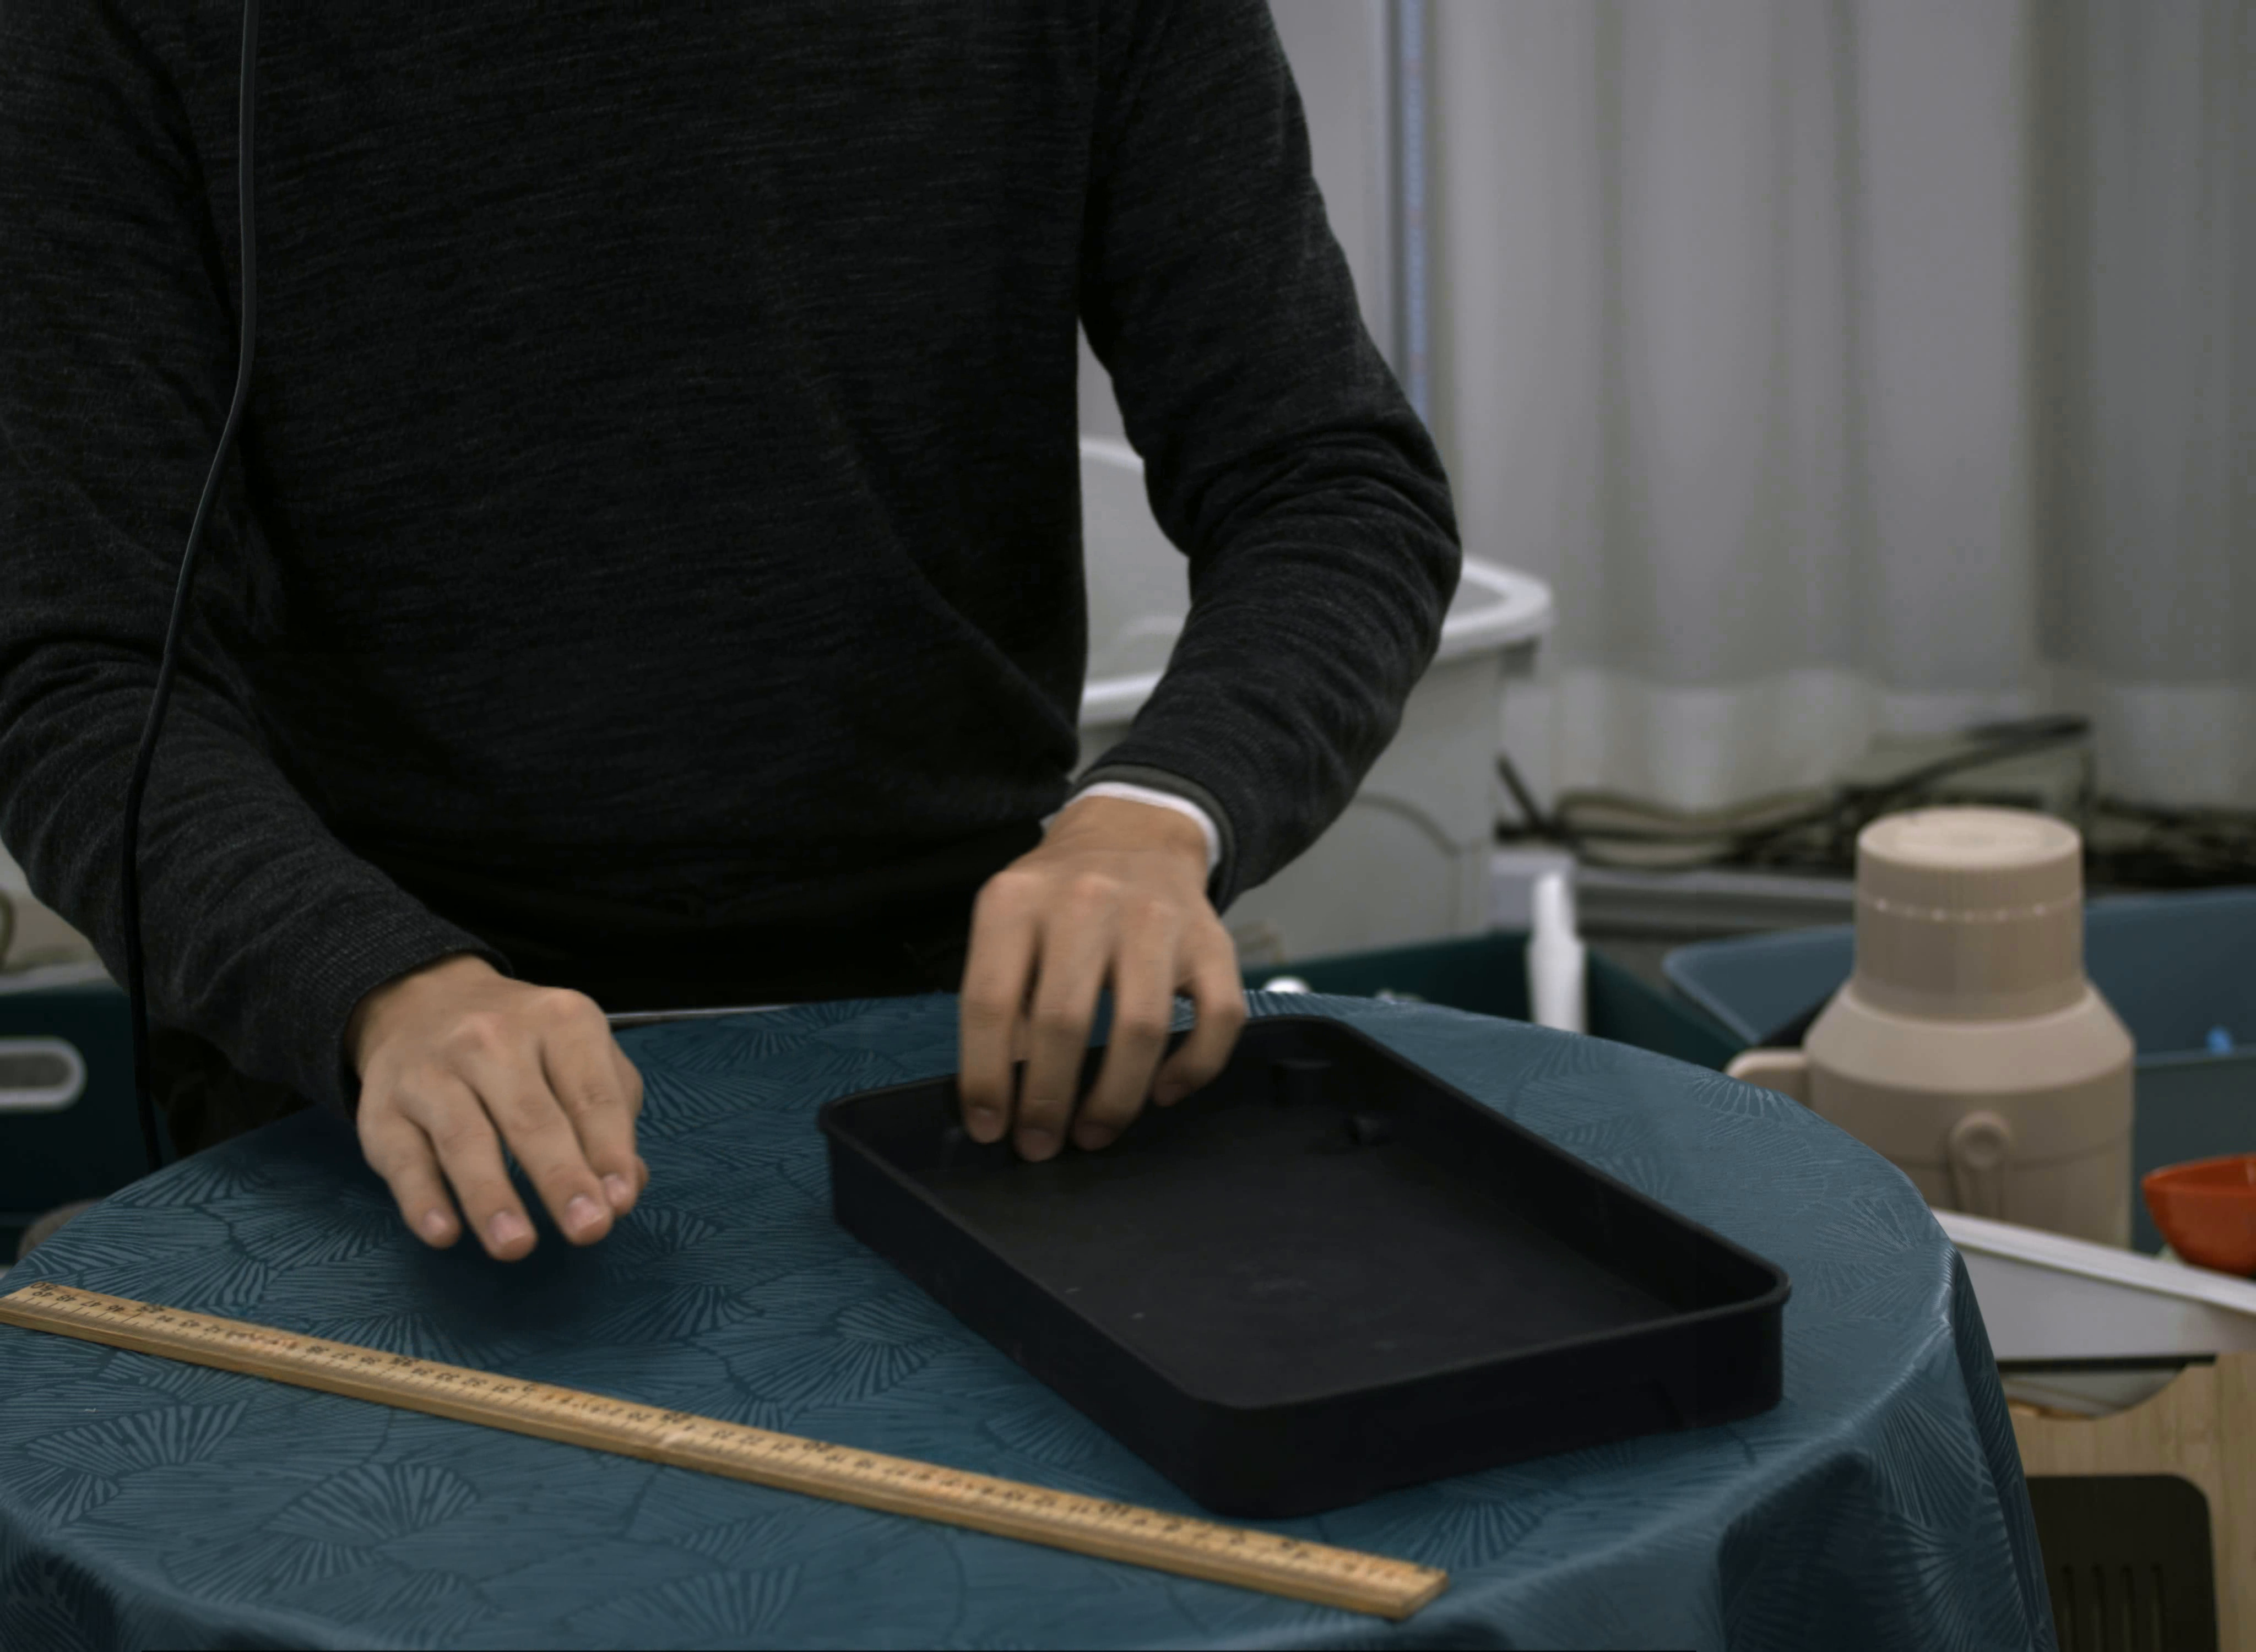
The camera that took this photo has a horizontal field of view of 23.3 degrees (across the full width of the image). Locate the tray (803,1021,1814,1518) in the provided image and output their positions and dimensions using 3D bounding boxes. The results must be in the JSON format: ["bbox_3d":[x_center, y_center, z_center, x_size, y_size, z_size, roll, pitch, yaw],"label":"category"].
[{"bbox_3d":[0.045,0.124,1.603,0.183,0.037,0.320,-10,16,-25],"label":"tray"}]

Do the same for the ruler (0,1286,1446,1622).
[{"bbox_3d":[-0.130,0.170,1.521,0.502,0.006,0.027,7,15,34],"label":"ruler"}]
